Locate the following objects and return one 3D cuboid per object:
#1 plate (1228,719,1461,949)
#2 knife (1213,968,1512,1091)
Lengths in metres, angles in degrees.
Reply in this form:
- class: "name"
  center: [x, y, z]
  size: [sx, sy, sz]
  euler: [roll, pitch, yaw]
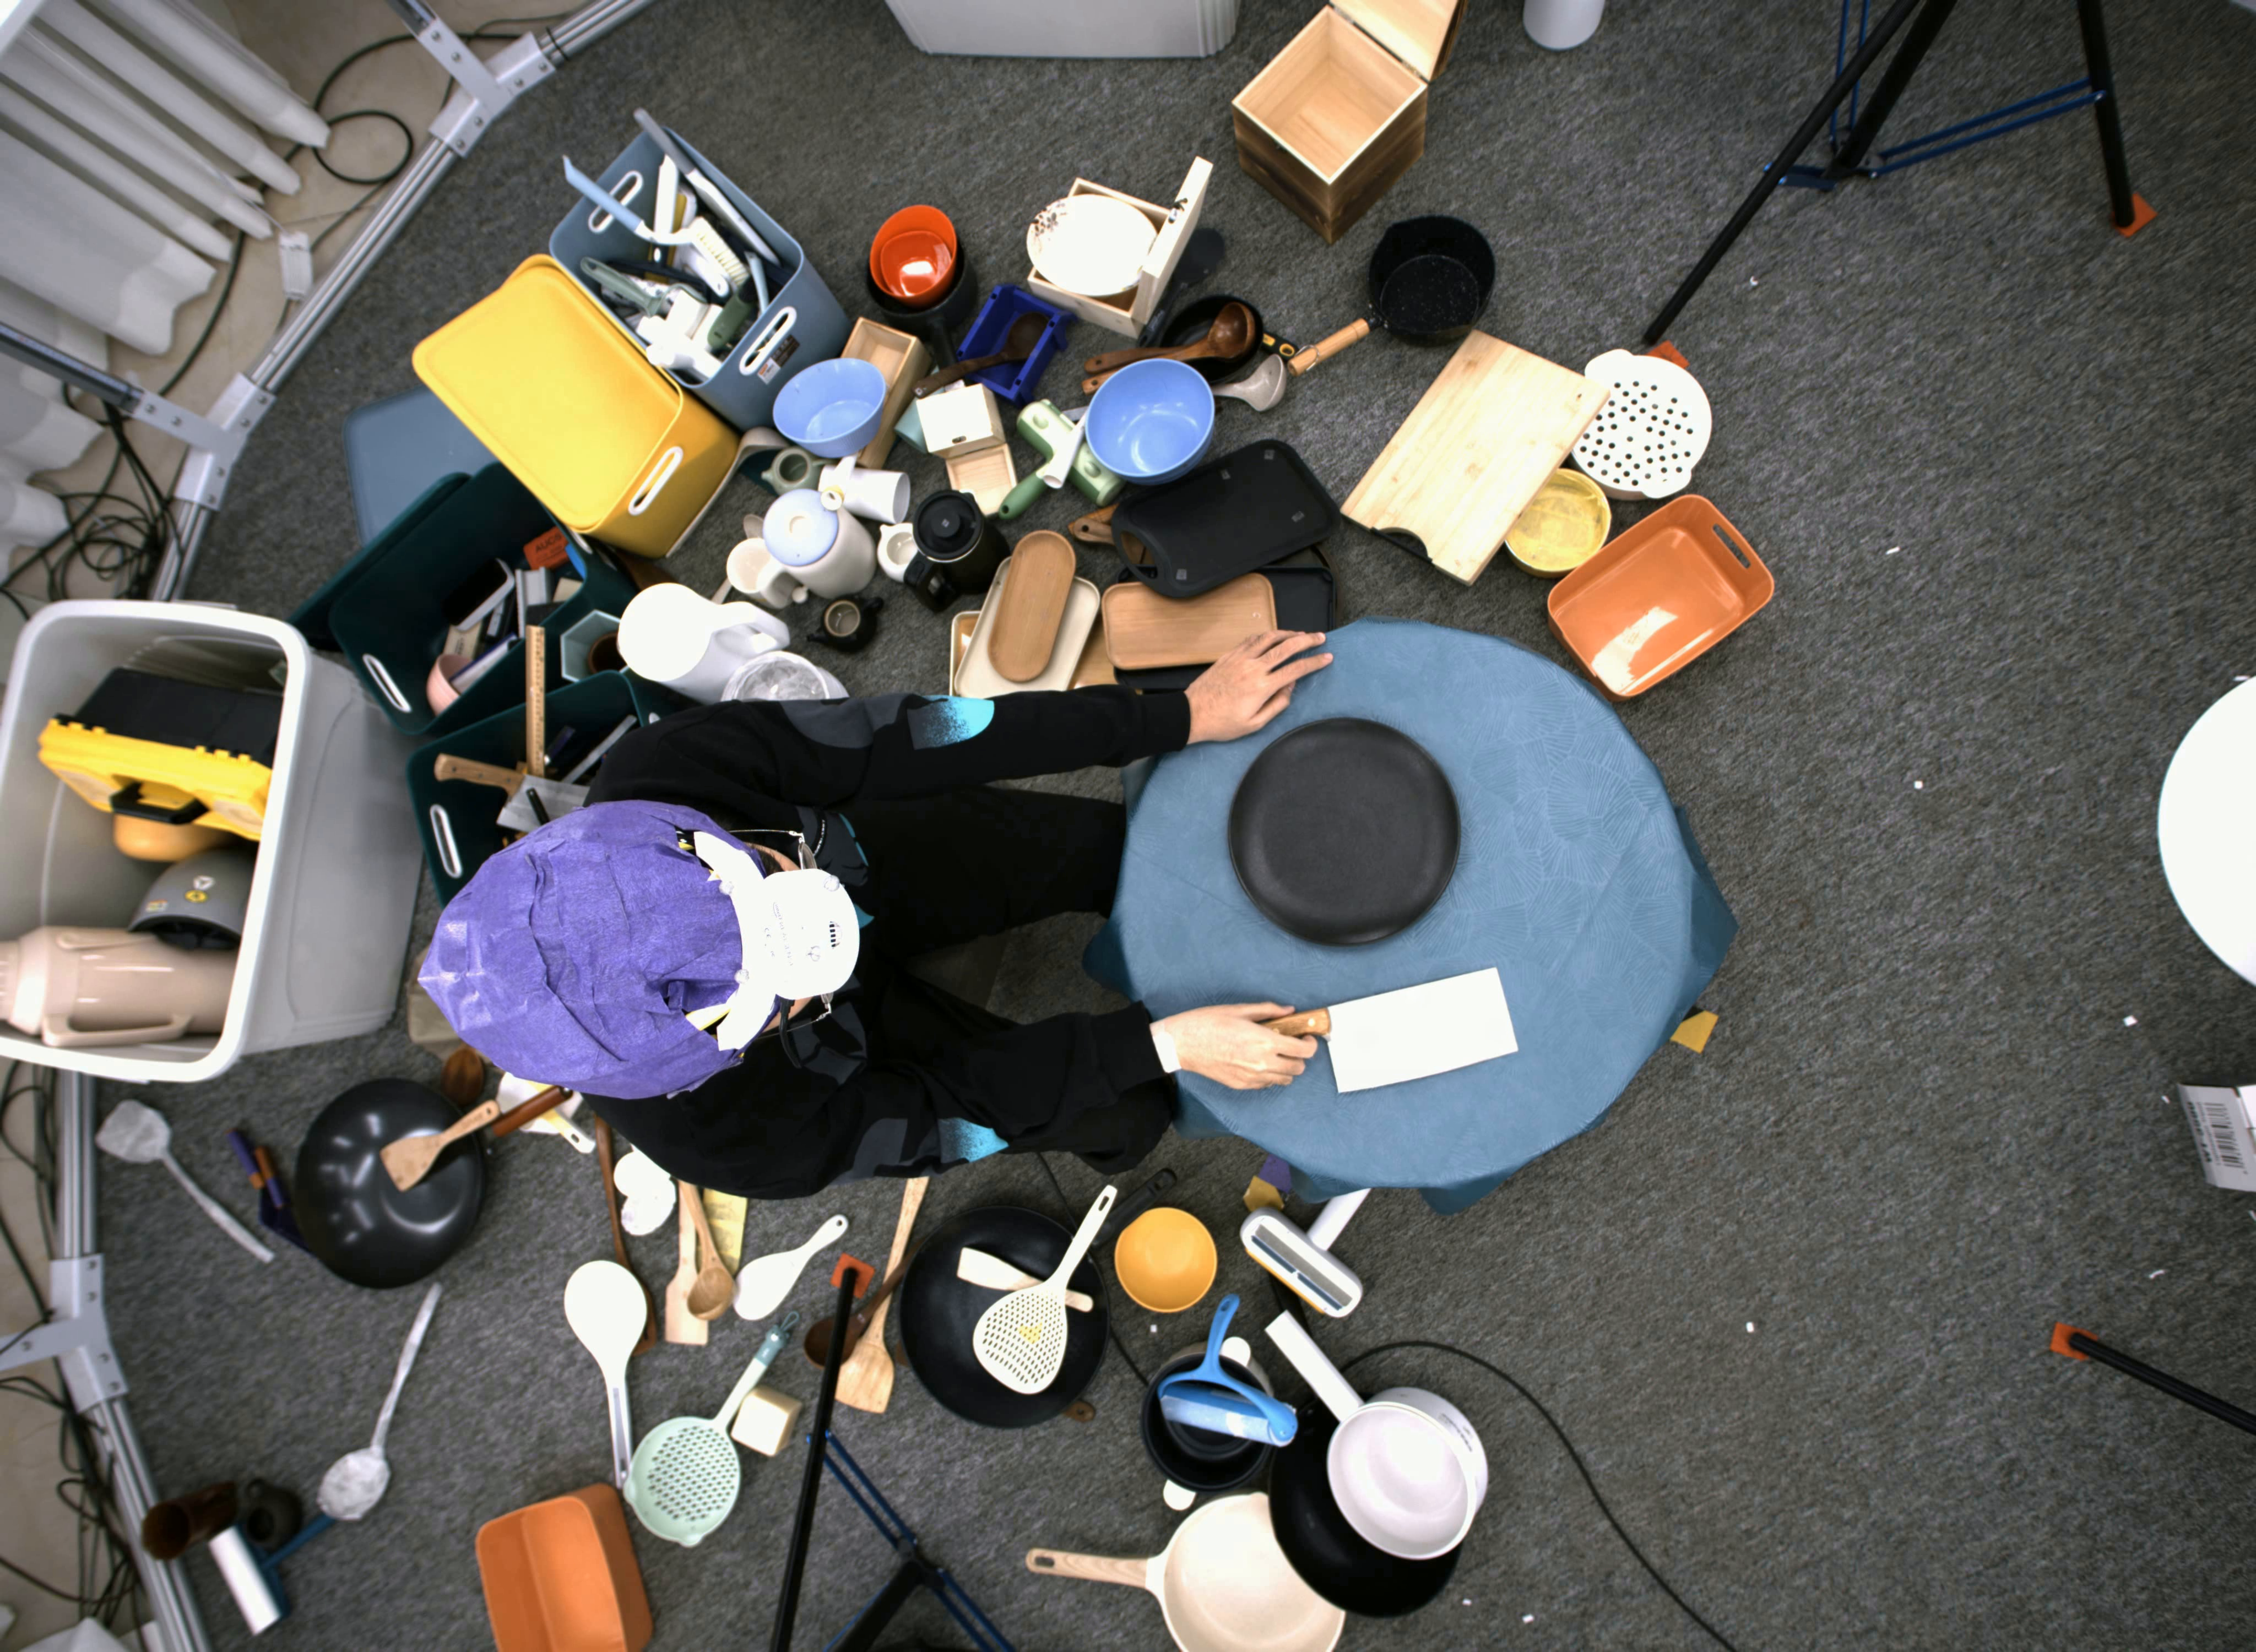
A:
- class: "plate"
  center: [0.228, 0.007, 1.459]
  size: [0.245, 0.023, 0.243]
  euler: [-1, 87, 10]
- class: "knife"
  center: [0.246, 0.223, 1.444]
  size: [0.307, 0.021, 0.092]
  euler: [-14, 85, 5]
